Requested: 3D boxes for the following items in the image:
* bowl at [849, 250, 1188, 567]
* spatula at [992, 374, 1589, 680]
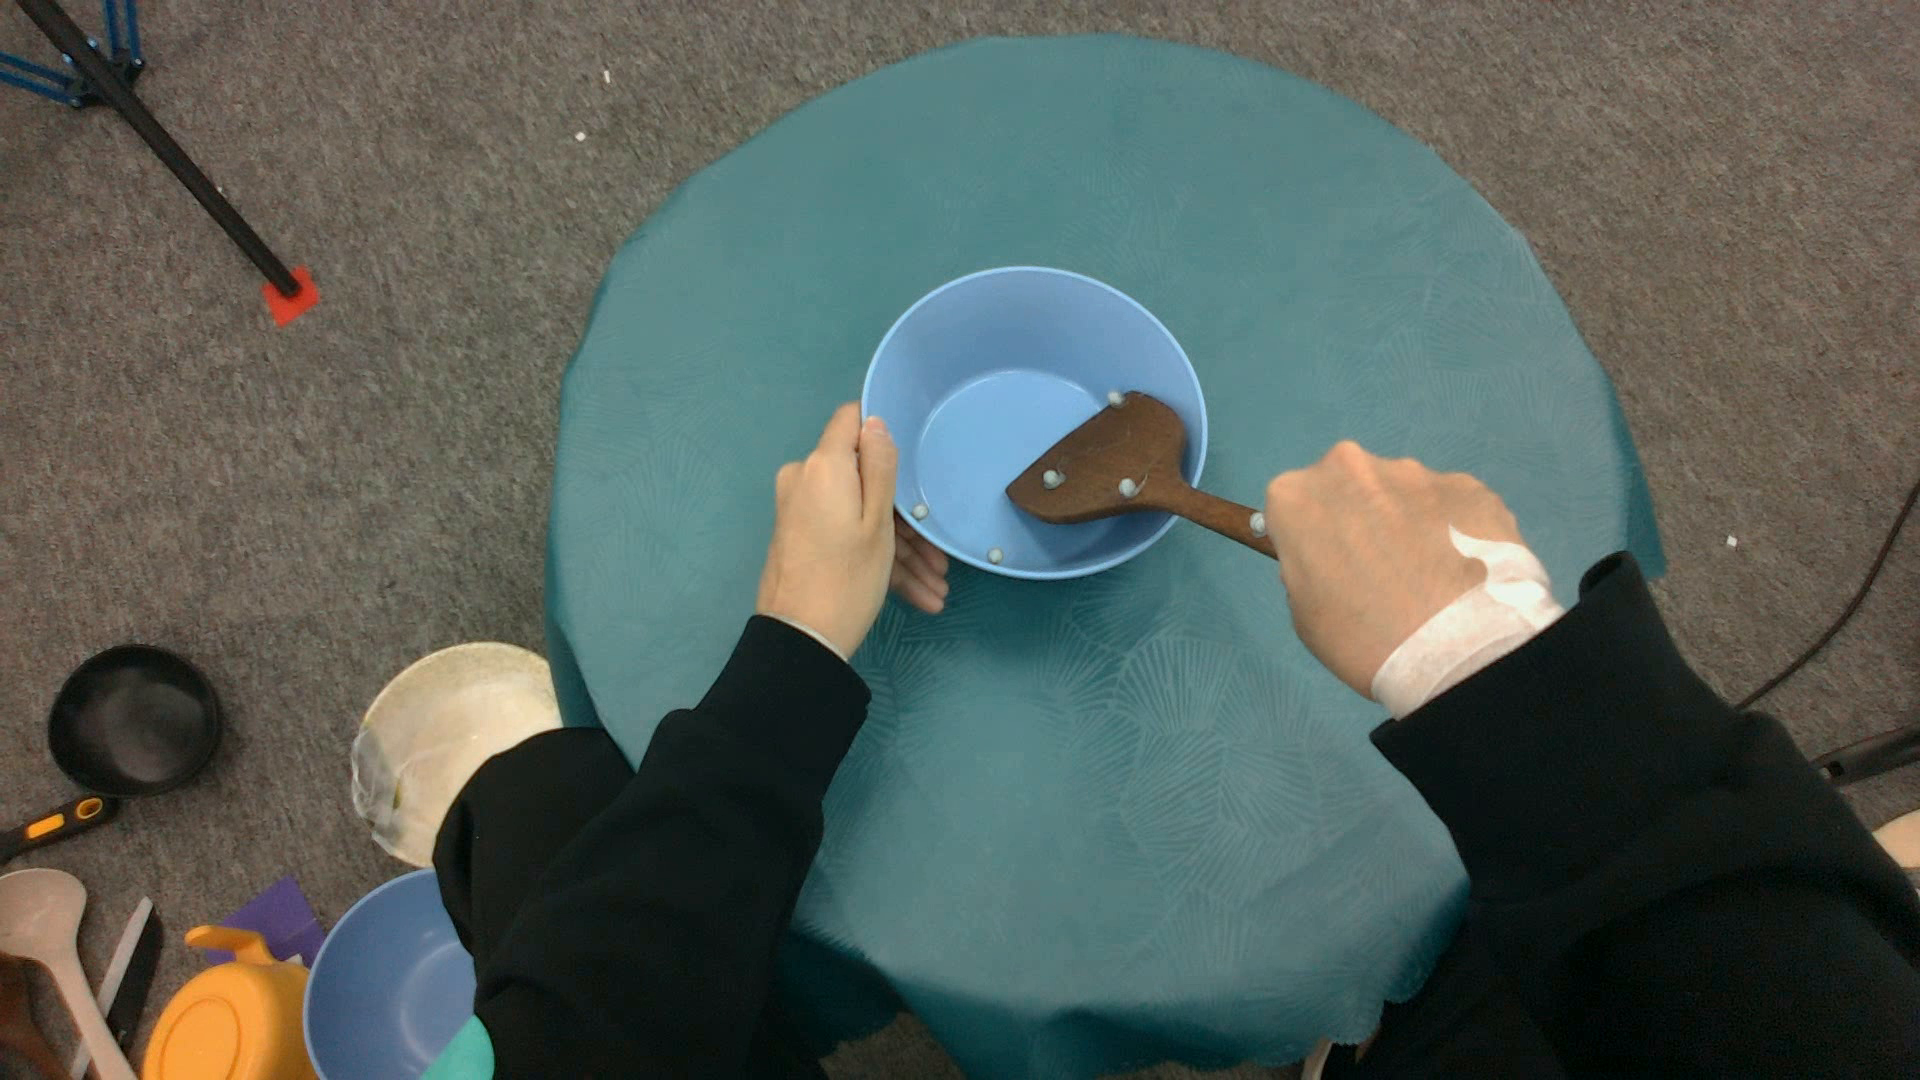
[{"bbox_3d":[0.027,-0.060,0.727,0.176,0.070,0.176,3,69,-8],"label":"bowl"},{"bbox_3d":[0.115,-0.014,0.581,0.096,0.386,0.016,-39,114,-7],"label":"spatula"}]
